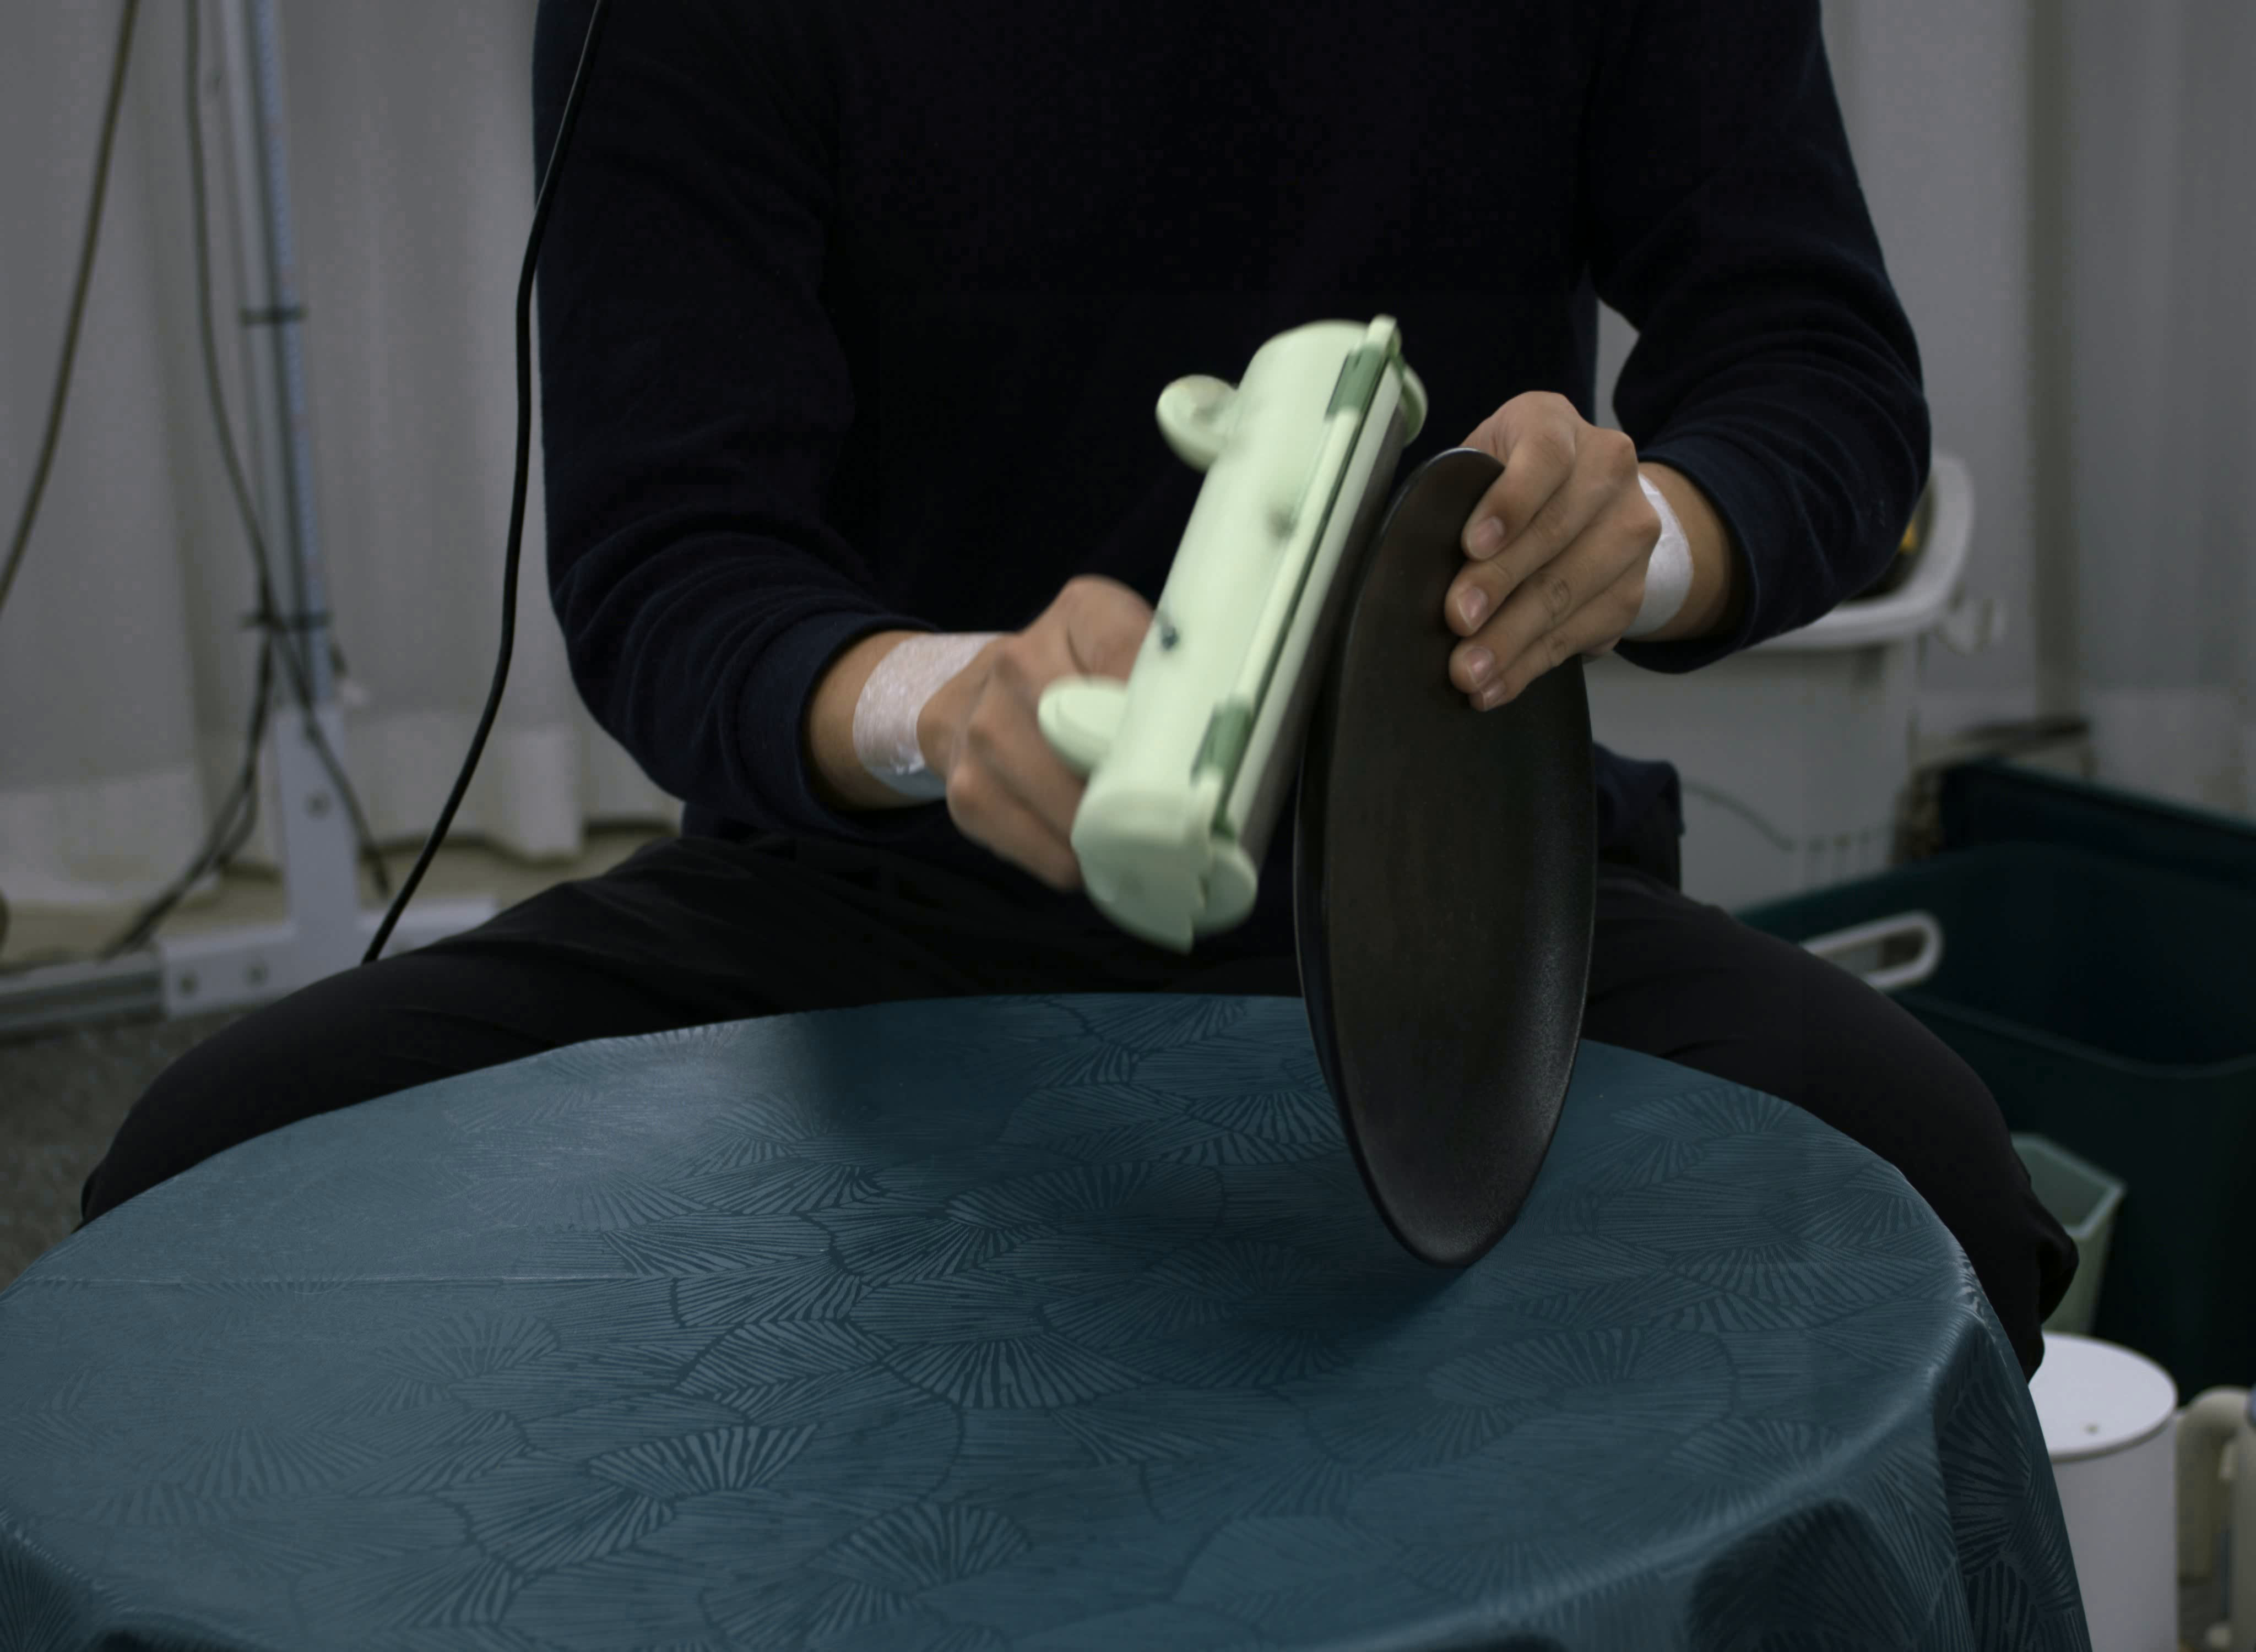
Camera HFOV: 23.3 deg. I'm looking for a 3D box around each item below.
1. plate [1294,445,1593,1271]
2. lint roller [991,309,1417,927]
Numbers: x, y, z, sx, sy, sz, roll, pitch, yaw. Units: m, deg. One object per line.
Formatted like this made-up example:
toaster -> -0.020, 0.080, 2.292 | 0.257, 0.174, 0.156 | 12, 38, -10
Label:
plate -> 0.091, 0.009, 1.623 | 0.023, 0.243, 0.245 | 1, 15, 22
lint roller -> -0.004, -0.048, 1.591 | 0.182, 0.081, 0.201 | -29, 30, 46
